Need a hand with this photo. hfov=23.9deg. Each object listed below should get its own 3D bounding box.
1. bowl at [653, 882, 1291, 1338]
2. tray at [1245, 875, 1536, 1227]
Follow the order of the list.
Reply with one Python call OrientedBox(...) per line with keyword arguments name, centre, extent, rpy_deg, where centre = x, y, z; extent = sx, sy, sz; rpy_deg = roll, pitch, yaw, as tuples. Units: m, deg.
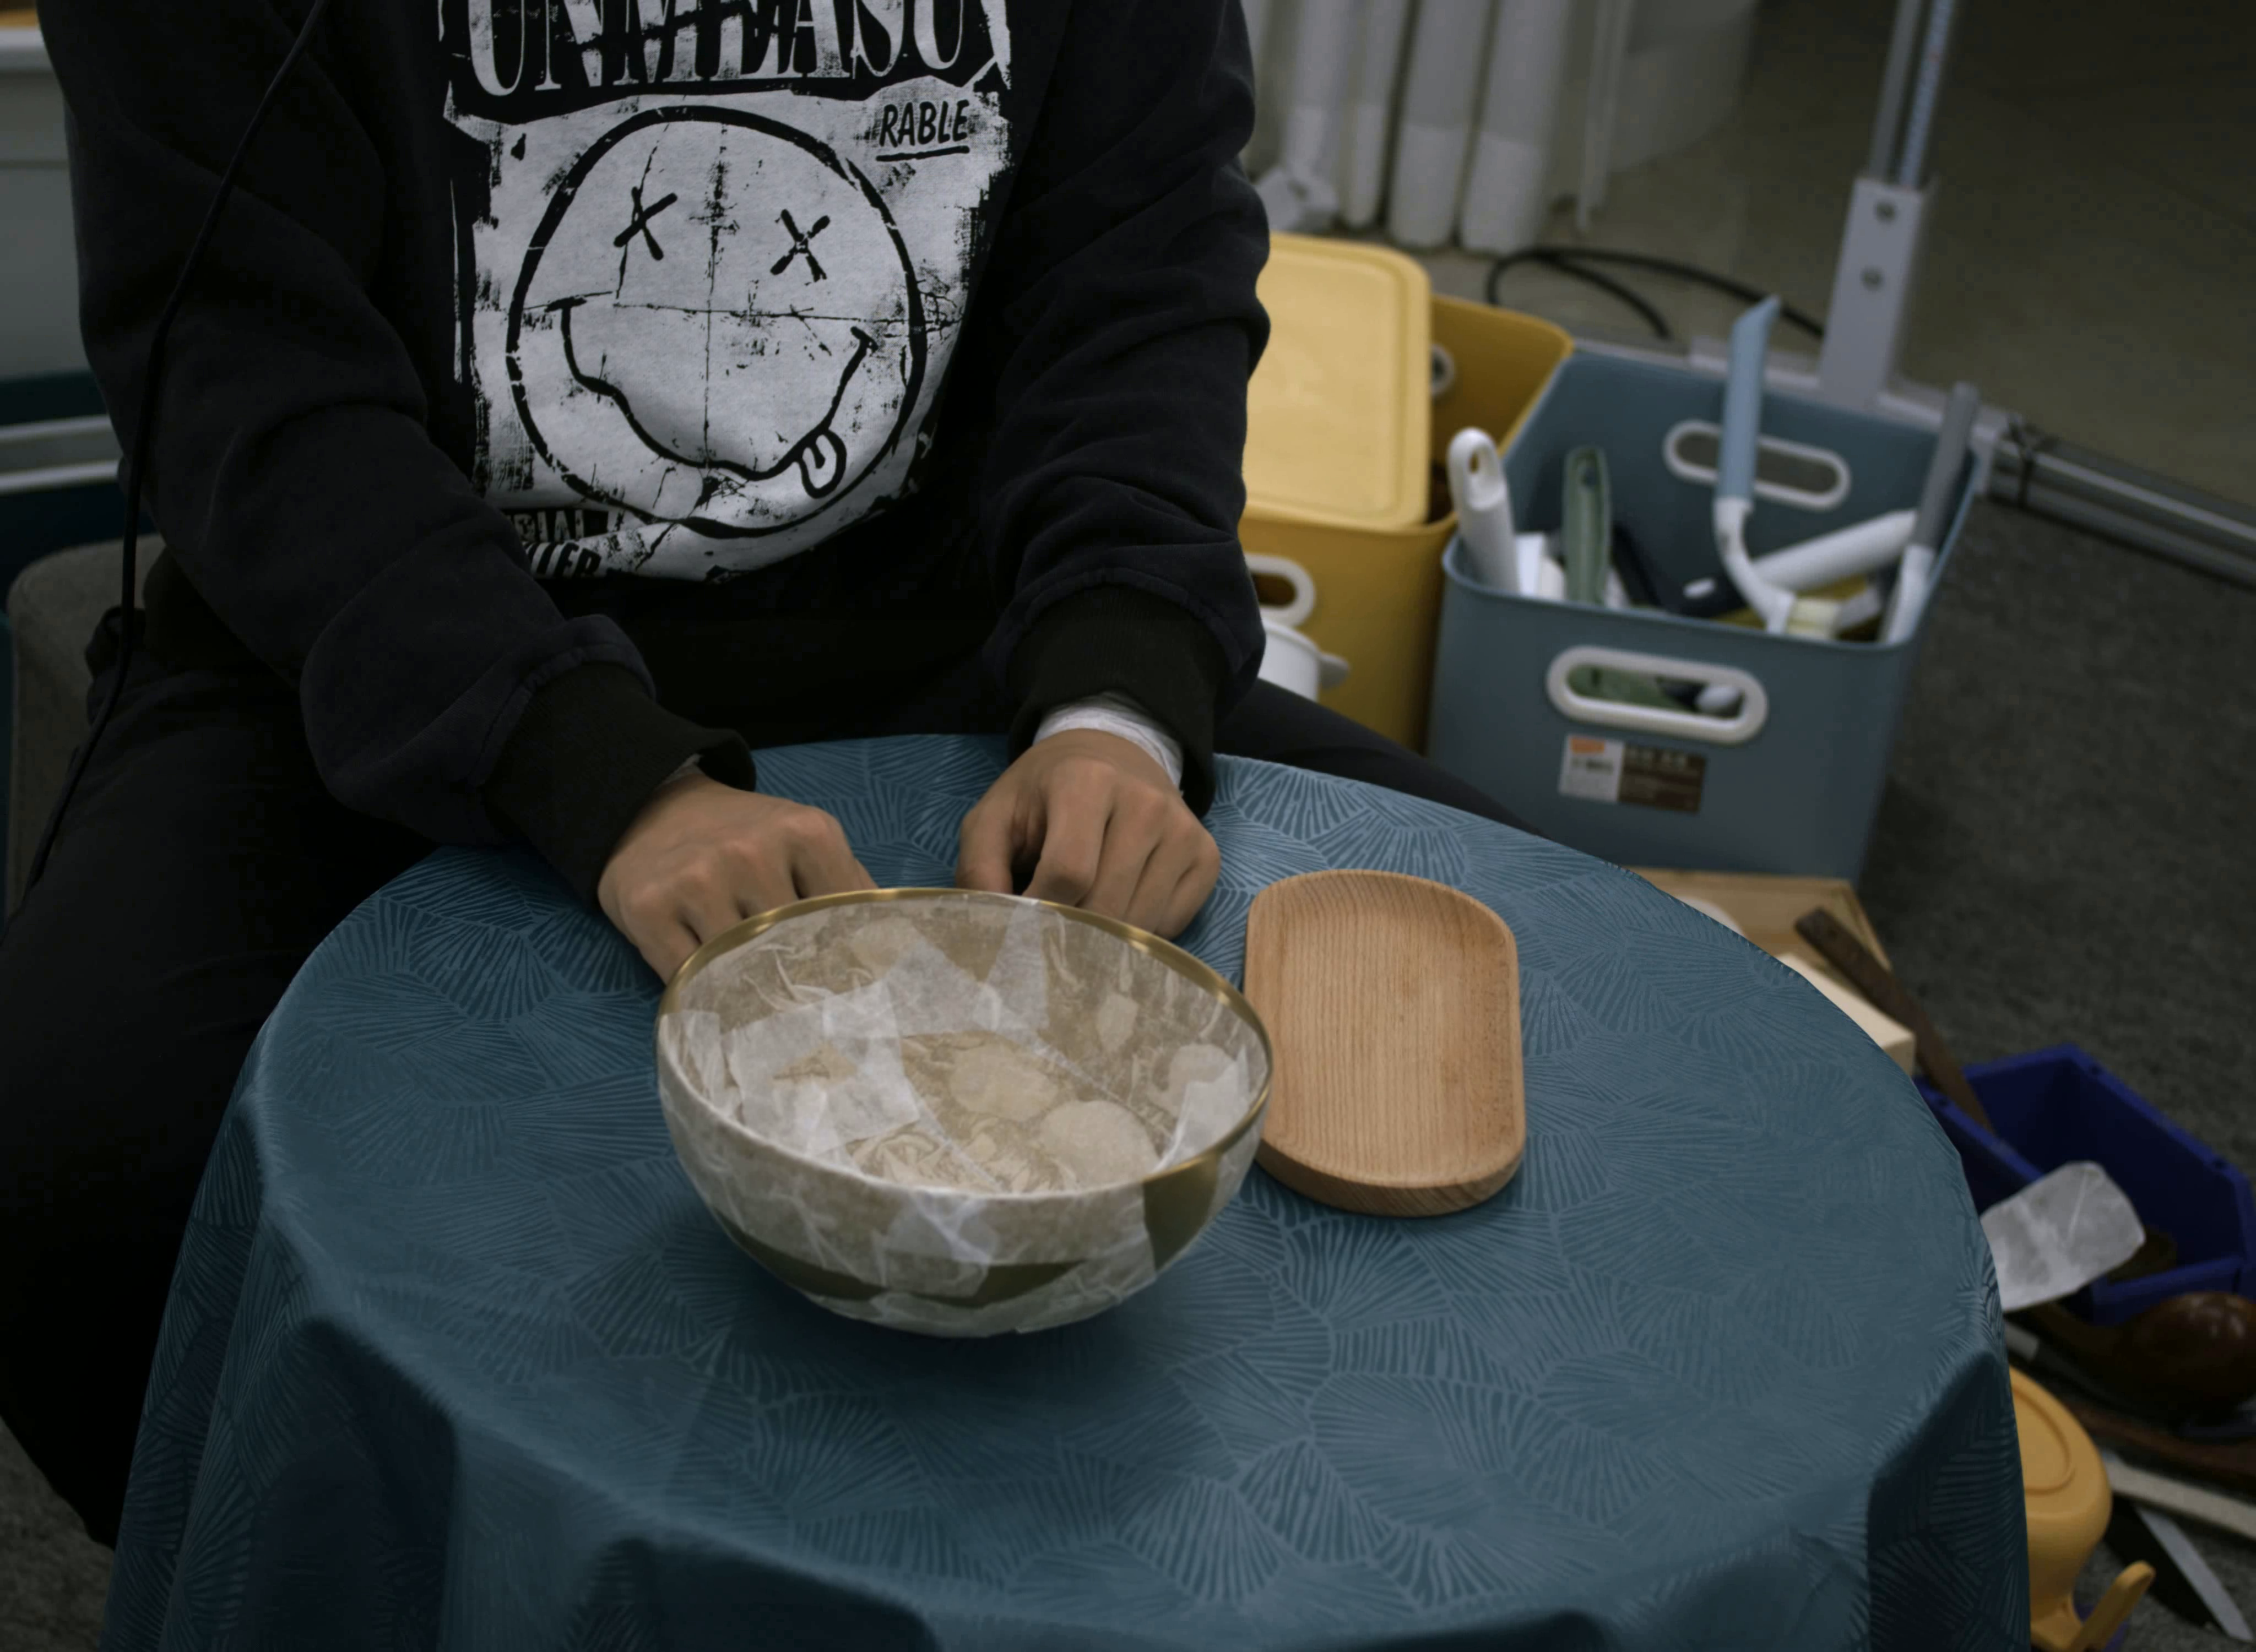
OrientedBox(name="bowl", centre=(-0.052, 0.103, 1.724), extent=(0.214, 0.094, 0.216), rpy_deg=(4, 27, -2))
OrientedBox(name="tray", centre=(0.092, 0.078, 1.895), extent=(0.101, 0.020, 0.232), rpy_deg=(4, 29, 0))
